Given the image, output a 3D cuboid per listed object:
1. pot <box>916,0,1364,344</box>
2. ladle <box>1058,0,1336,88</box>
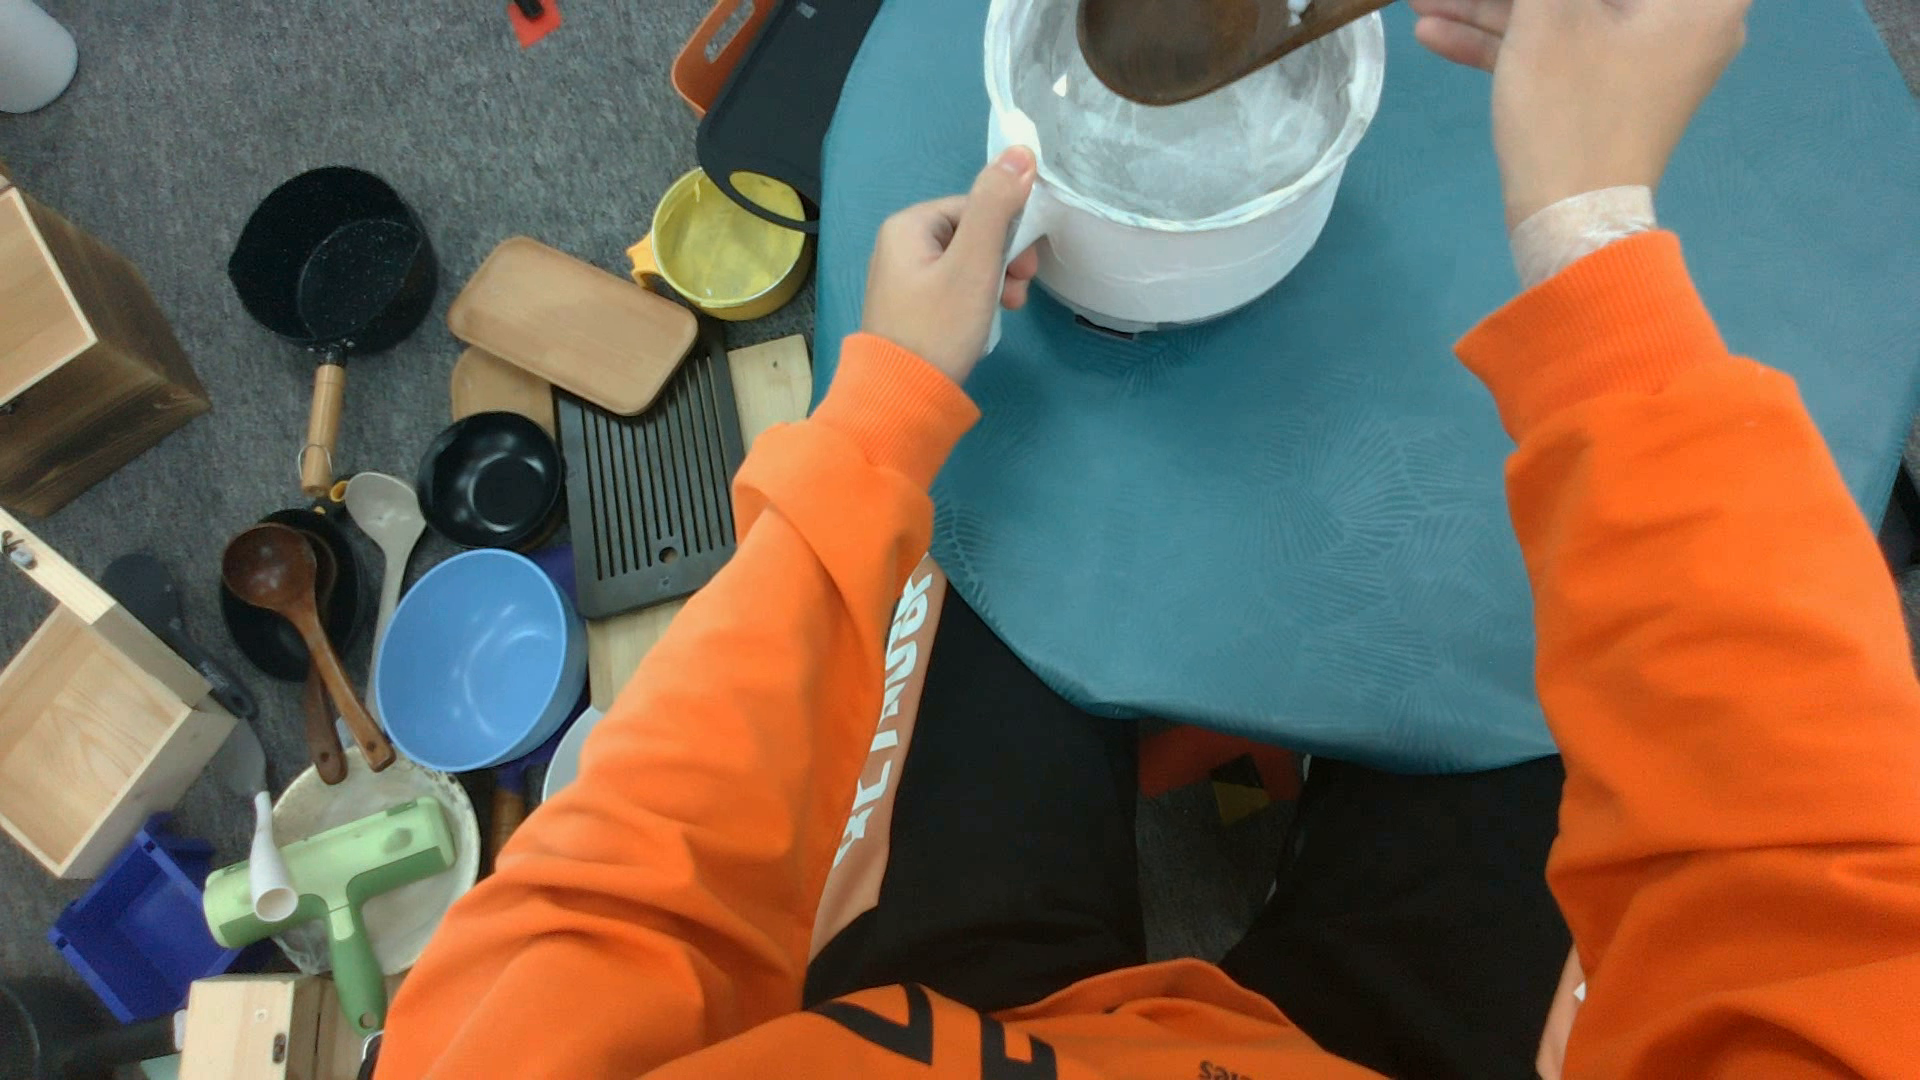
[{"bbox_3d":[0.073,-0.192,0.671,0.234,0.136,0.179,-42,77,-9],"label":"pot"},{"bbox_3d":[0.155,-0.229,0.514,0.273,0.071,0.076,2,80,47],"label":"ladle"}]
